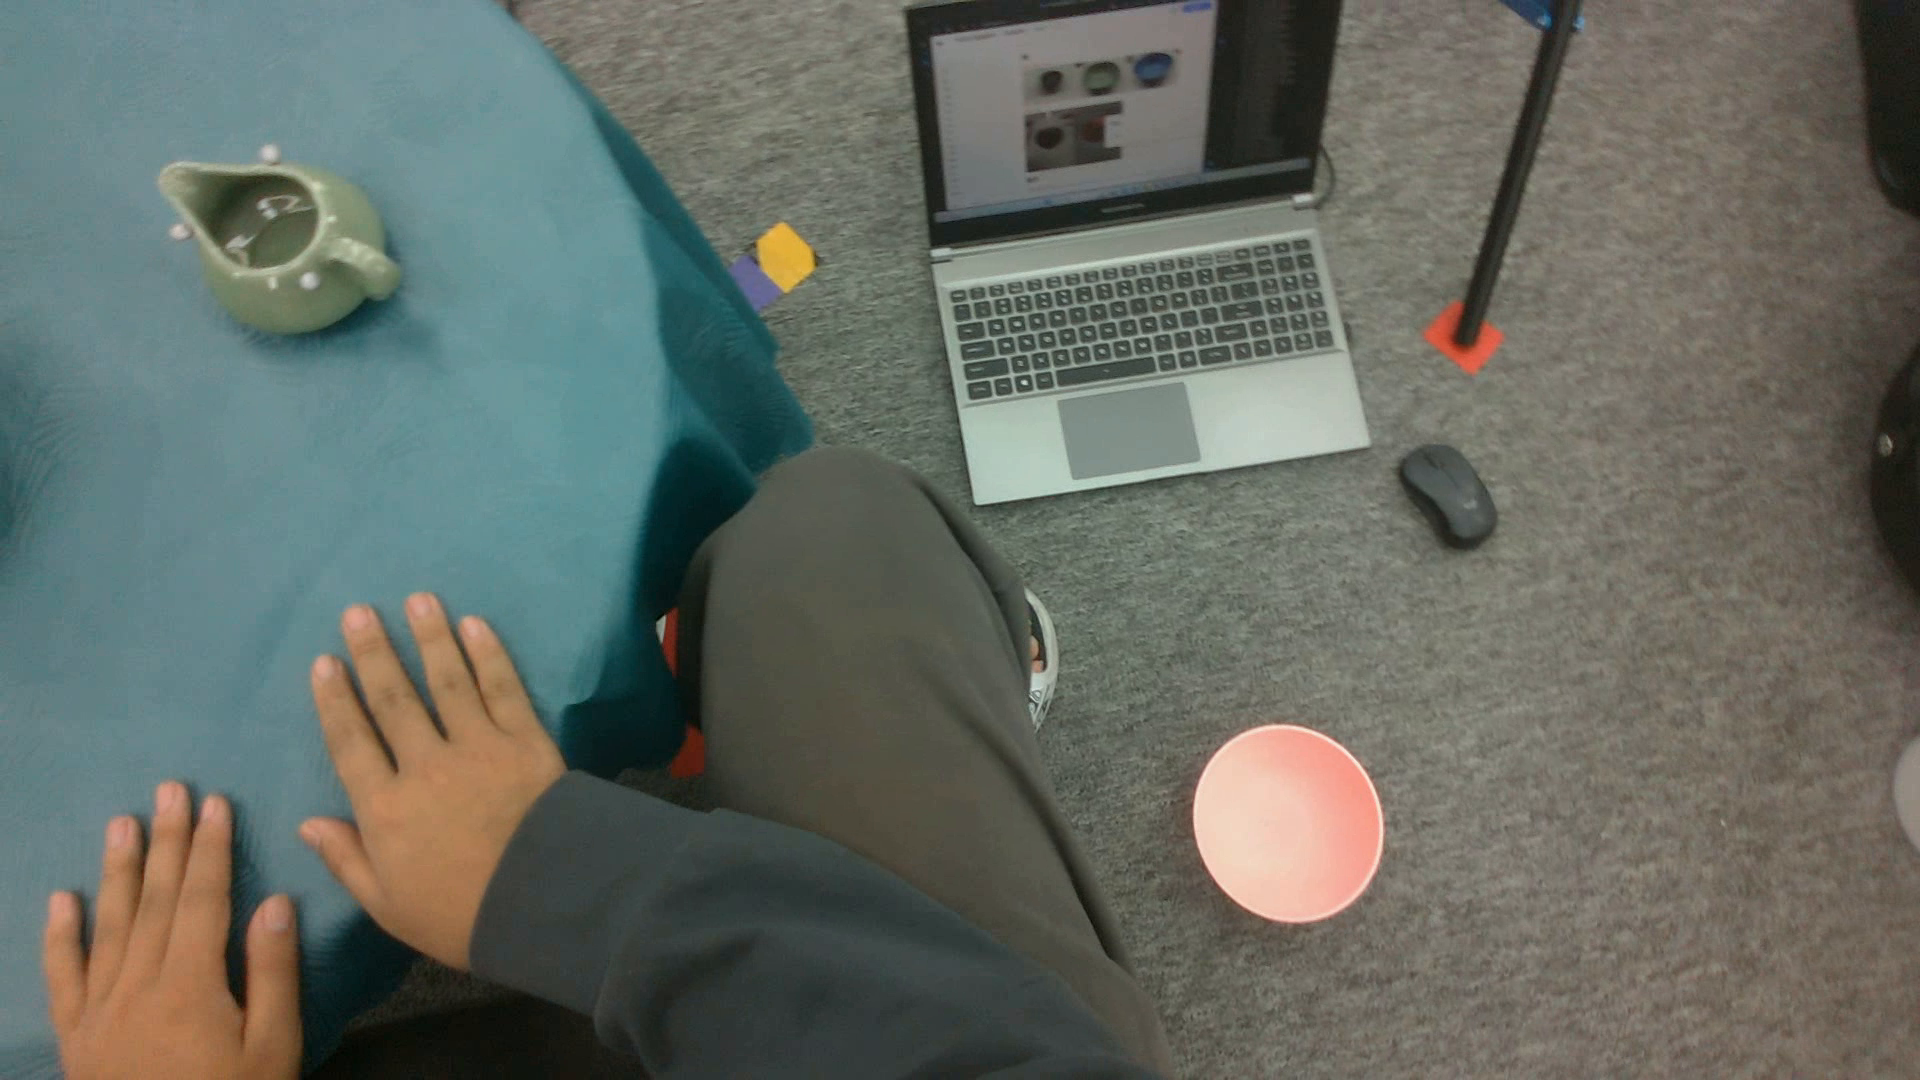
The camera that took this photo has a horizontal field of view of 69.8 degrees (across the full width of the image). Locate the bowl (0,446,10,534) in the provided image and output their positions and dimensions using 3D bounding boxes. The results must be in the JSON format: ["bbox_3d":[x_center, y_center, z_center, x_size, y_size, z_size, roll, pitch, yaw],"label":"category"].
[{"bbox_3d":[-0.502,-0.011,0.630,0.151,0.058,0.152,0,75,0],"label":"bowl"}]

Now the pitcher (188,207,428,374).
[{"bbox_3d":[-0.306,-0.122,0.663,0.112,0.056,0.084,19,76,3],"label":"pitcher"}]
